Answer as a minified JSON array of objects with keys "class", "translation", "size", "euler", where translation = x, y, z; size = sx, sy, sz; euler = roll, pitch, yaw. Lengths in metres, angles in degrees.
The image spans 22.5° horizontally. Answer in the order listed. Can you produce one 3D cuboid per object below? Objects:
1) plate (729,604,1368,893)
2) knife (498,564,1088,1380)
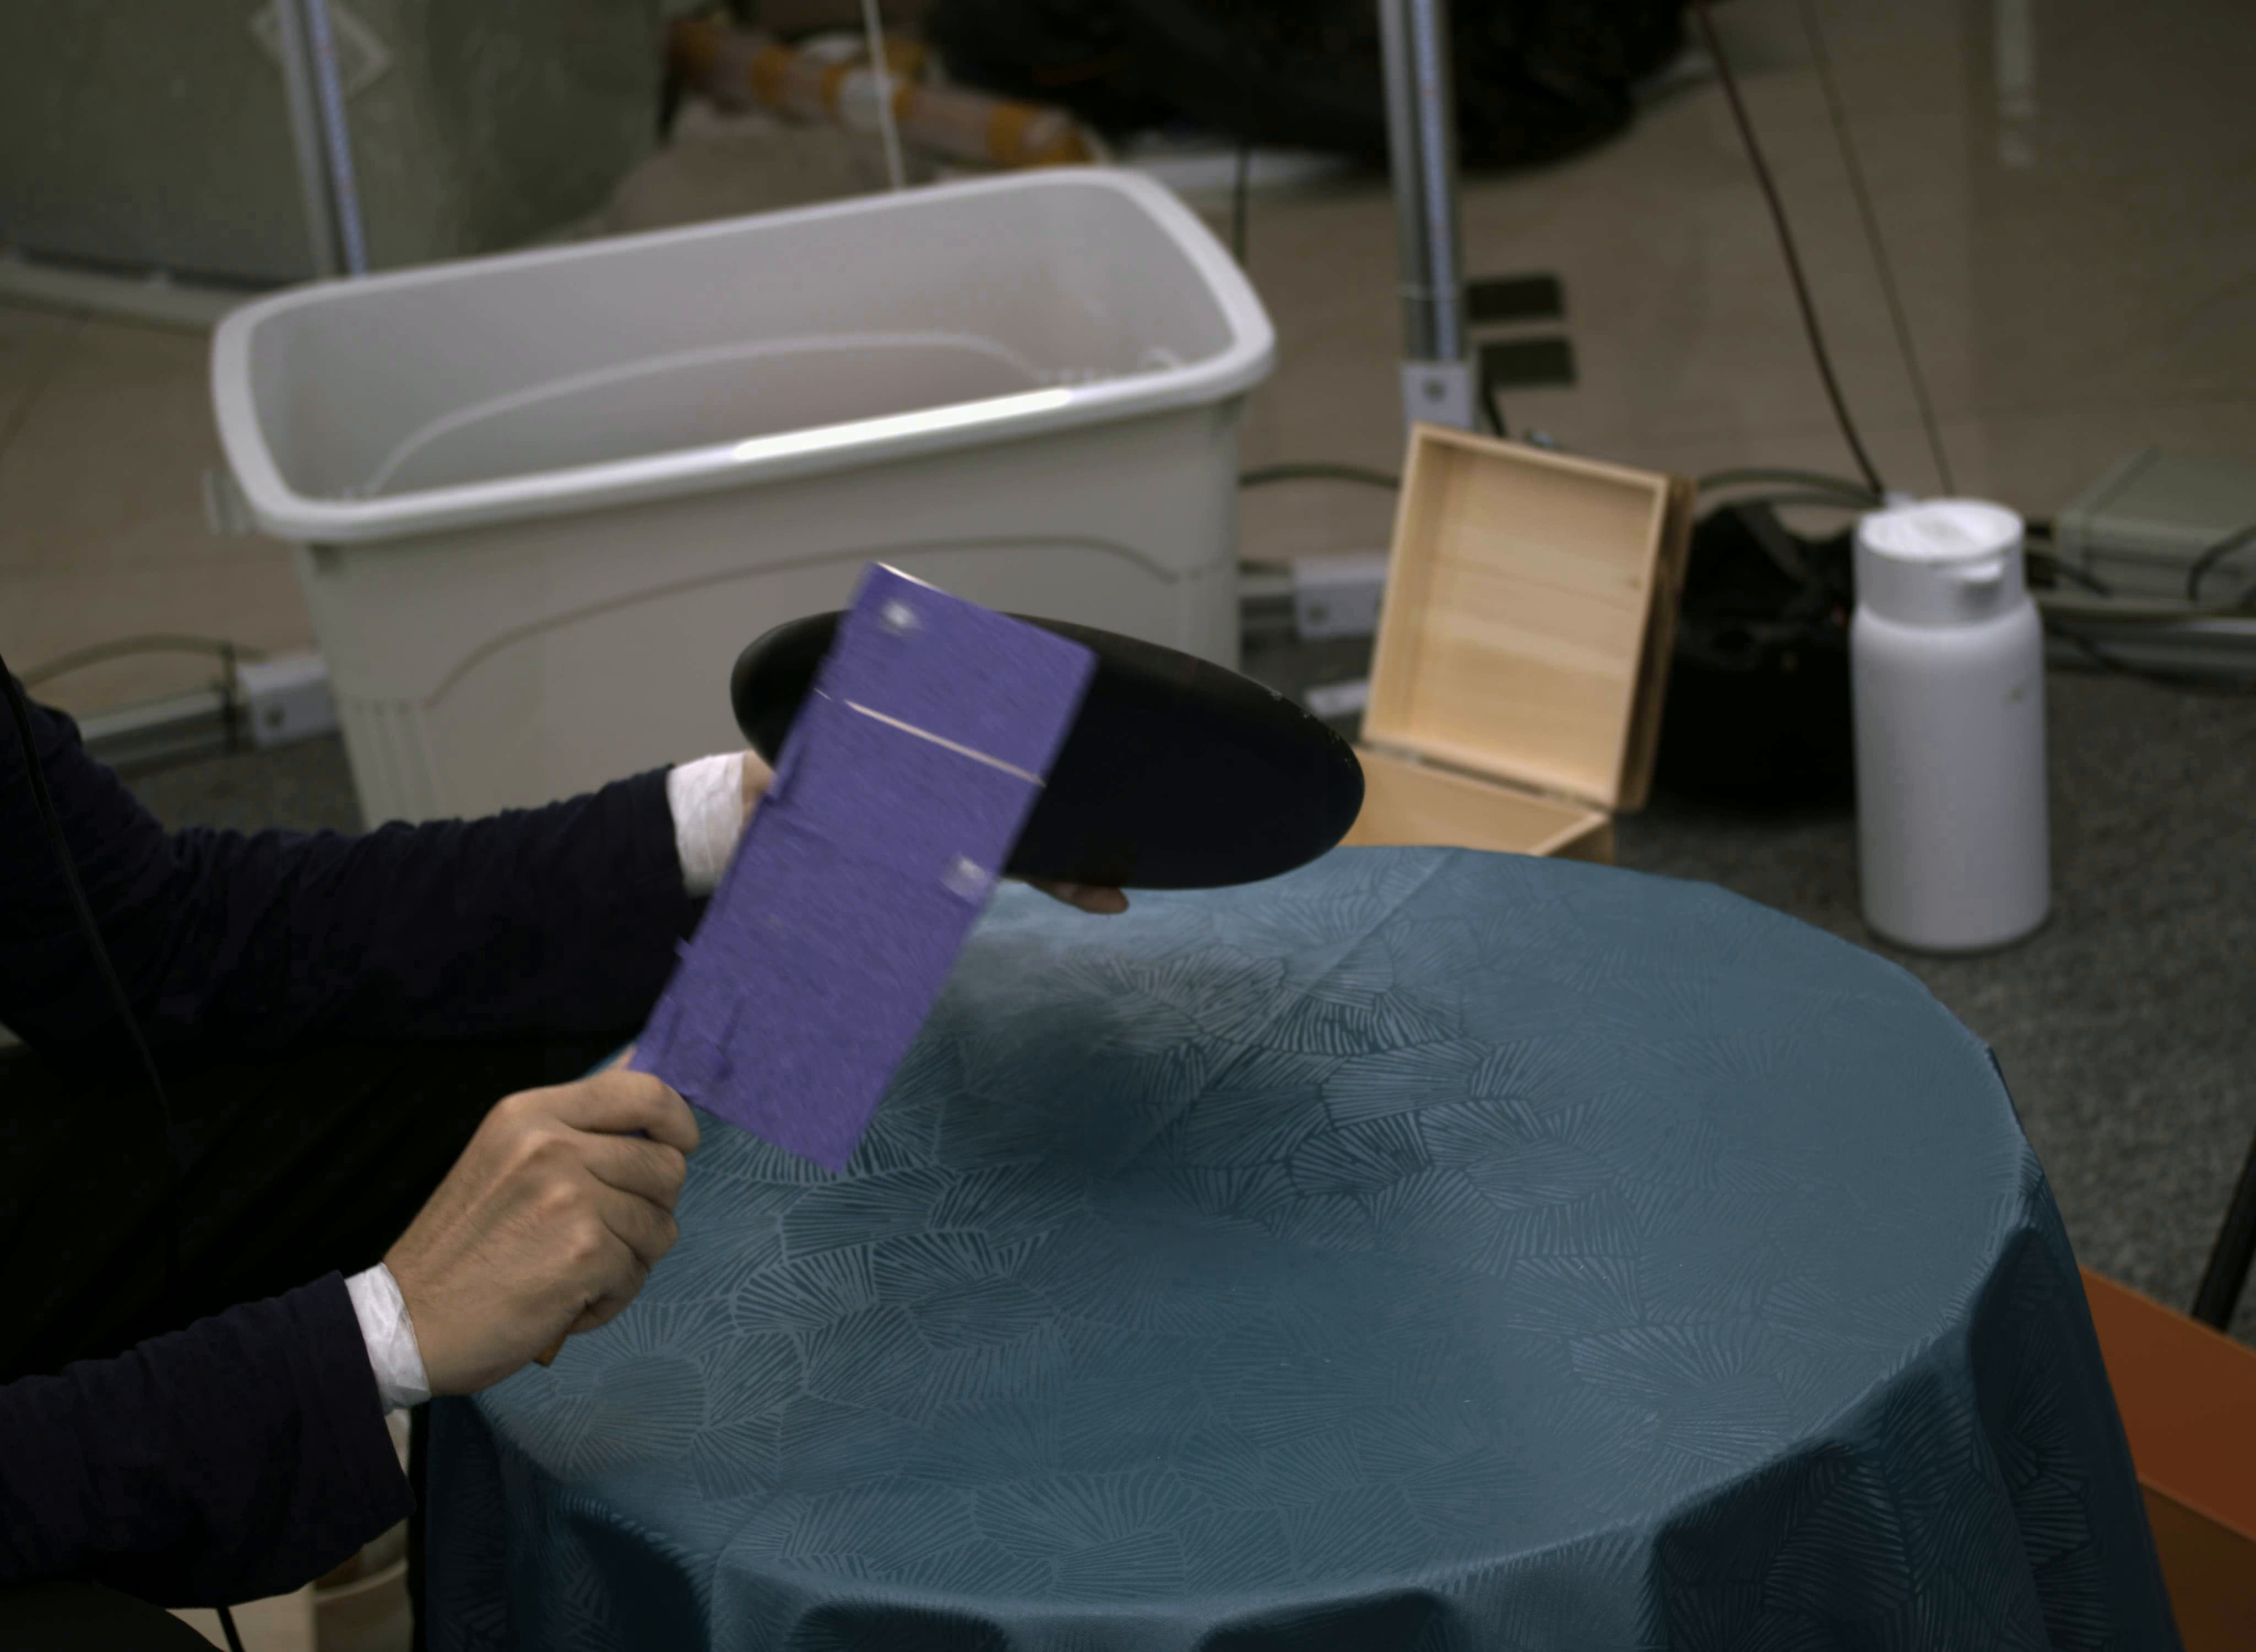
[{"class":"plate","translation":[-0.033,-0.027,2.208],"size":[0.254,0.258,0.029],"euler":[4,70,21]},{"class":"knife","translation":[-0.115,0.062,1.997],"size":[0.103,0.314,0.032],"euler":[25,-5,17]}]
